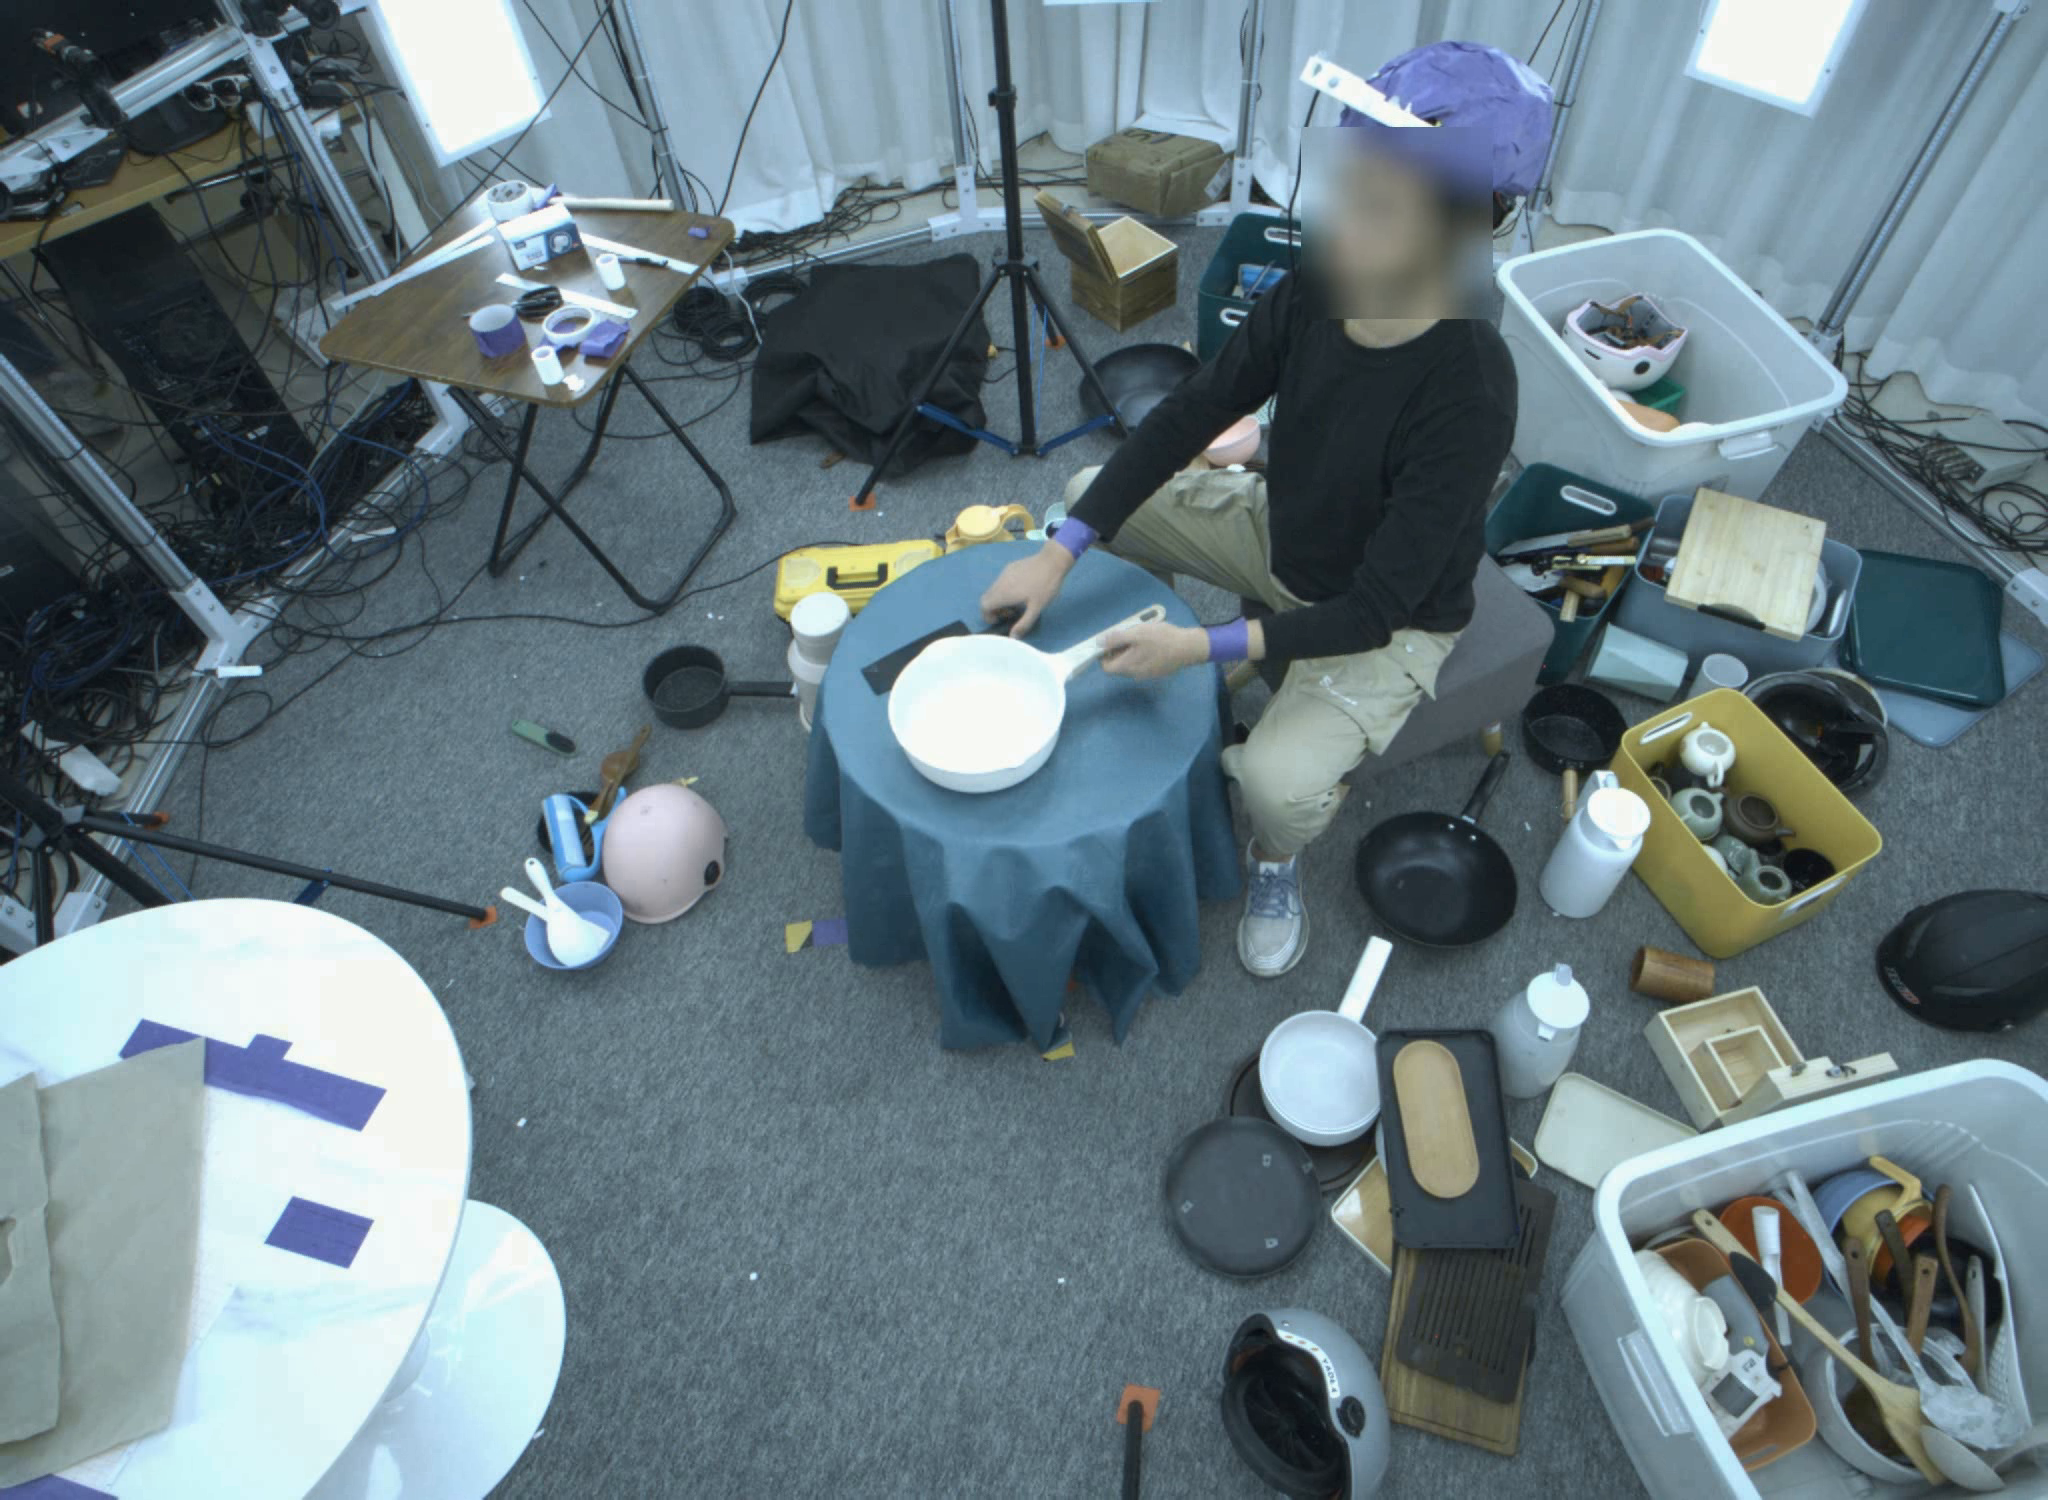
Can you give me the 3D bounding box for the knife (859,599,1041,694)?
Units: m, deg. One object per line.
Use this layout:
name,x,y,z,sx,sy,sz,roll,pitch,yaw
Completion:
knife,-0.110,-0.168,1.899,0.304,0.021,0.079,-23,56,-12

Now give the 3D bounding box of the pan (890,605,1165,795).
pan,0.018,-0.086,1.783,0.438,0.103,0.258,-25,56,-15
